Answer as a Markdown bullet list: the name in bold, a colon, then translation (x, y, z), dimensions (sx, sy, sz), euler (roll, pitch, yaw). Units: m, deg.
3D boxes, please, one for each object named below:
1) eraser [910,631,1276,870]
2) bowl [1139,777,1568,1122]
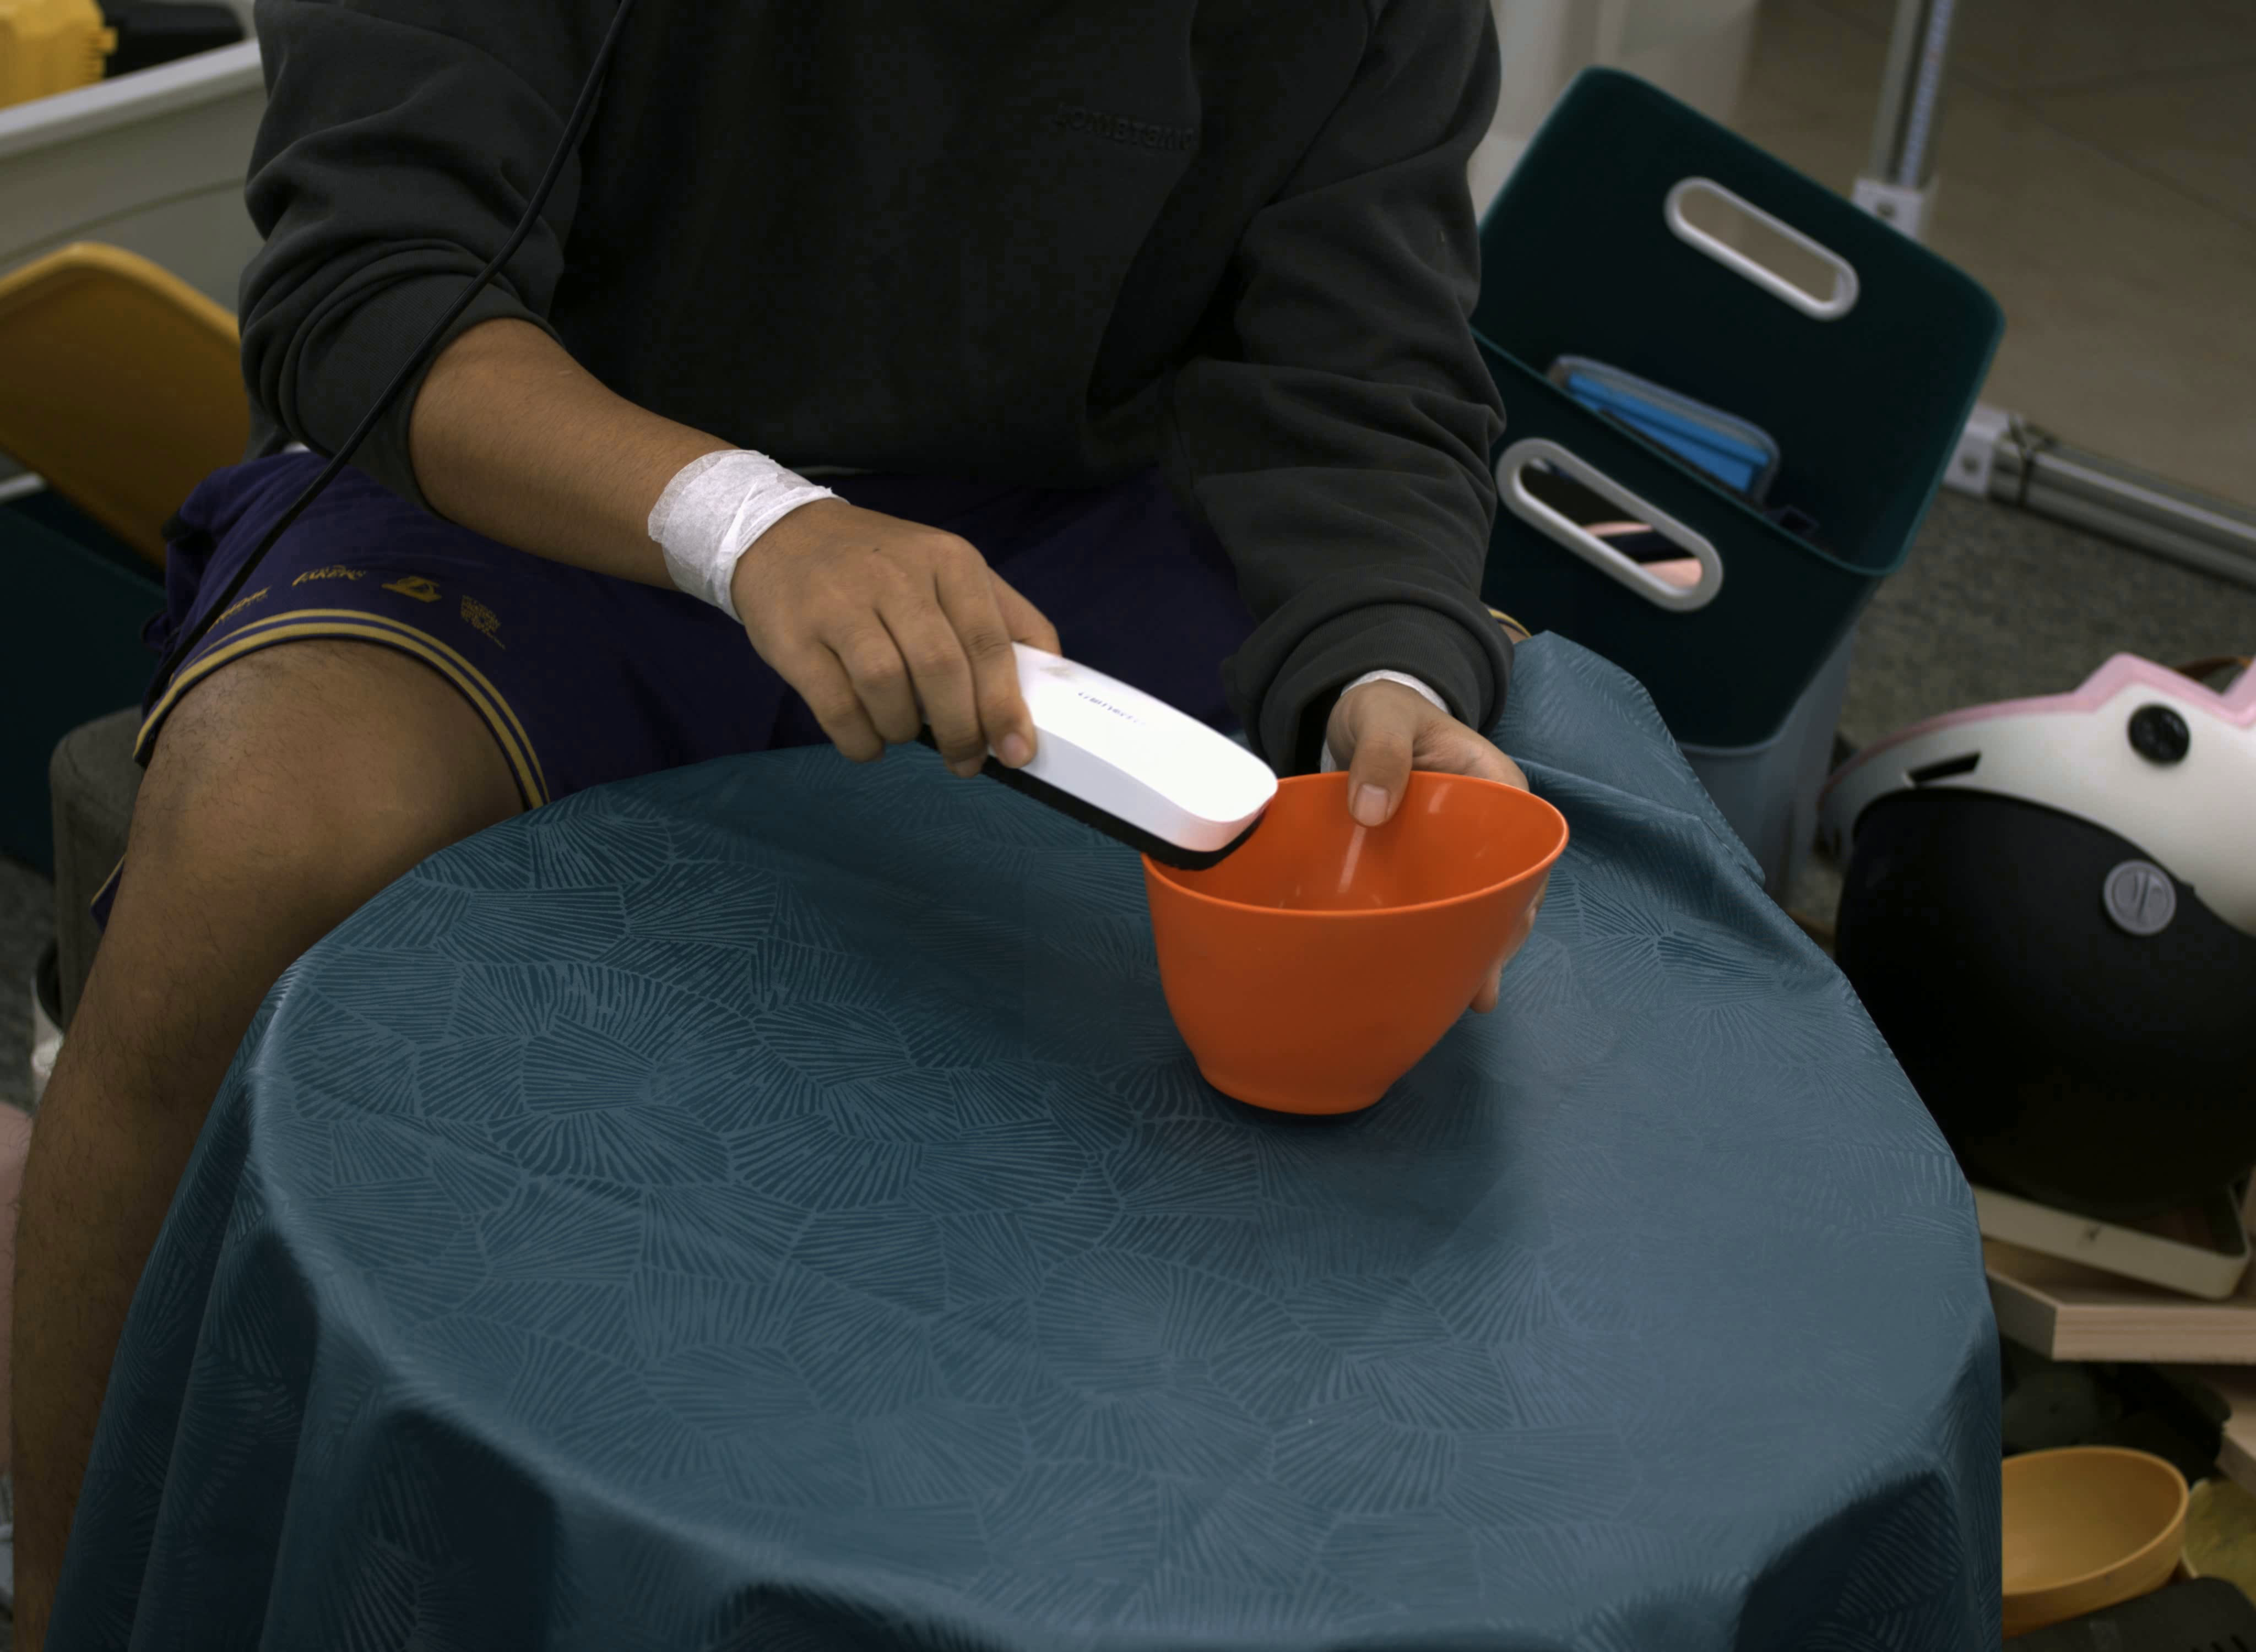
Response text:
- **eraser**: translation (-0.012, -0.030, 1.878), dimensions (0.132, 0.034, 0.063), euler (29, 26, 19)
- **bowl**: translation (0.074, 0.045, 1.856), dimensions (0.147, 0.104, 0.148), euler (5, 19, -2)
